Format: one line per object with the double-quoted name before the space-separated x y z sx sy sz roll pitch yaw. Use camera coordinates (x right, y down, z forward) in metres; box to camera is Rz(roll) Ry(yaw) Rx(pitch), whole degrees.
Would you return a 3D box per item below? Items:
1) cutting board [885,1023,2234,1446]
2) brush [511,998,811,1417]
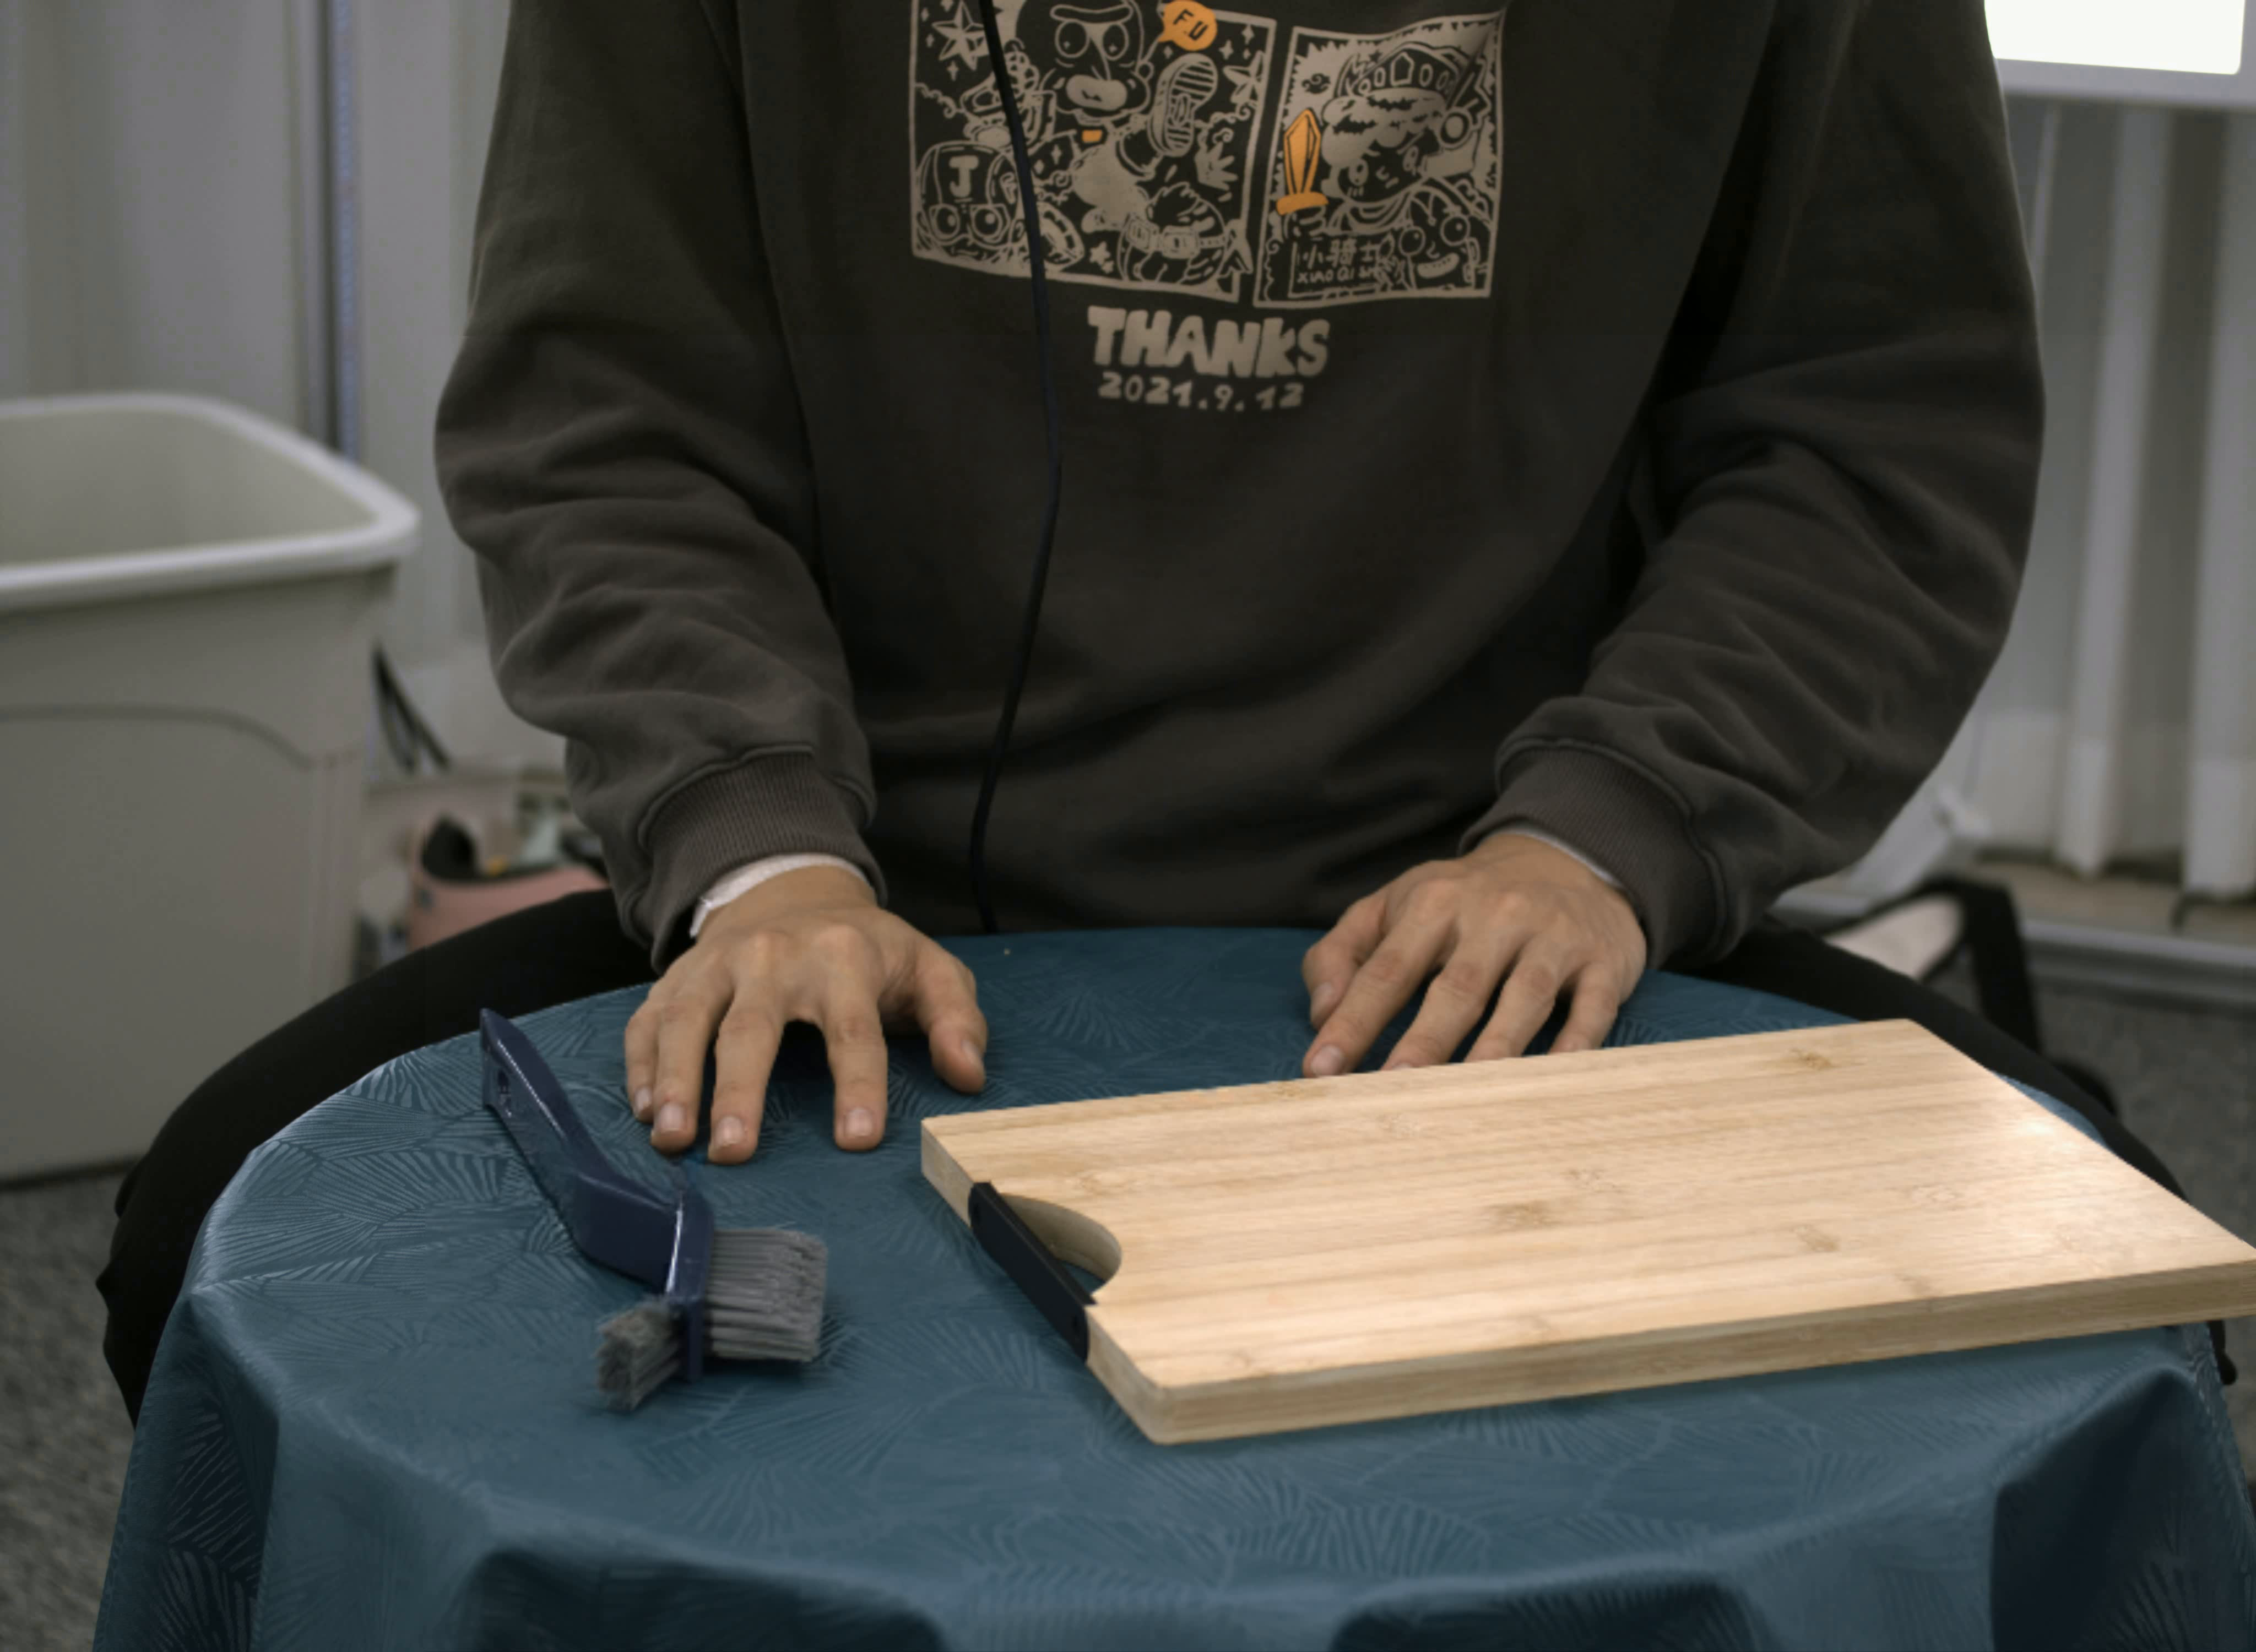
"cutting board" 0.125 0.118 1.586 0.349 0.024 0.248 -5 16 -19
"brush" -0.167 0.110 1.576 0.096 0.034 0.270 -7 18 -25
